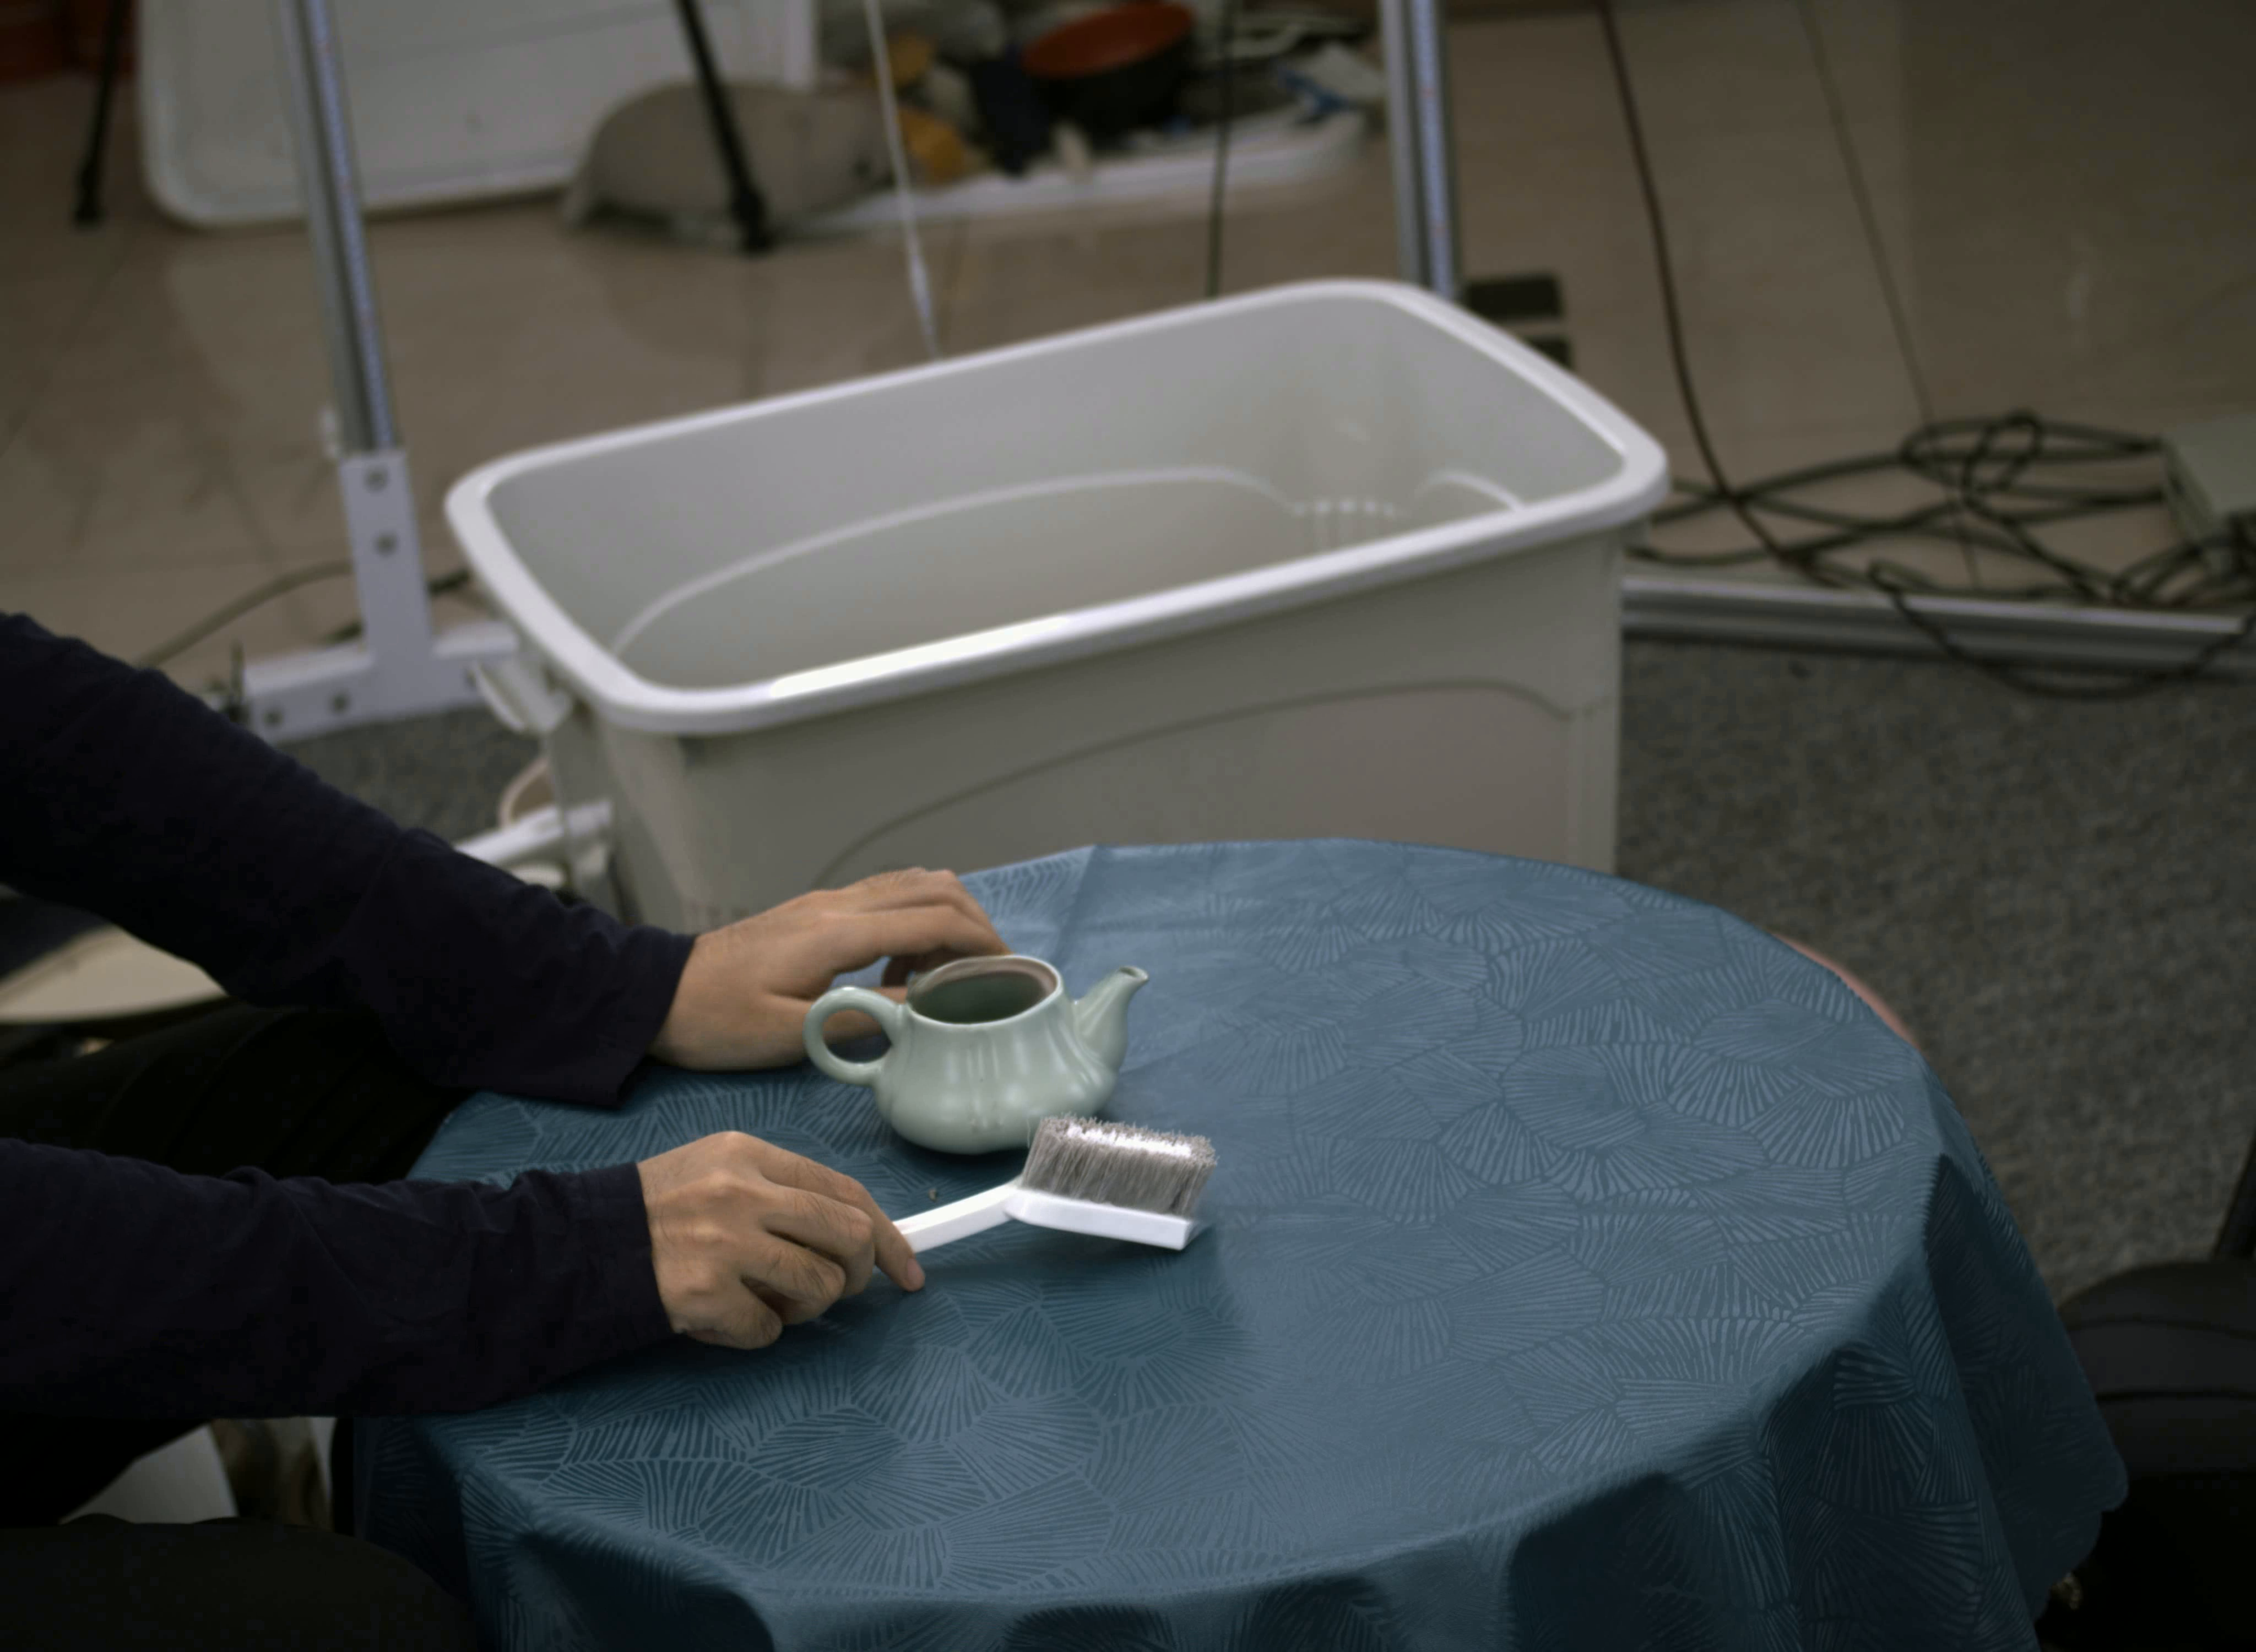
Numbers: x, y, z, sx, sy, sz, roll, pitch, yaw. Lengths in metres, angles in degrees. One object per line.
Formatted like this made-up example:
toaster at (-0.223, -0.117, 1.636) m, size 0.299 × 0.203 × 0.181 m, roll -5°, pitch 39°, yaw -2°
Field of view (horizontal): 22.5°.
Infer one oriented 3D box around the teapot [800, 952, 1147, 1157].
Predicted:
teapot at (-0.058, 0.087, 2.201) m, size 0.137 × 0.062 × 0.094 m, roll -5°, pitch 28°, yaw 1°

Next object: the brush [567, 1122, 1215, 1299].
brush at (-0.088, 0.142, 2.100) m, size 0.243 × 0.051 × 0.034 m, roll -5°, pitch 24°, yaw 0°
